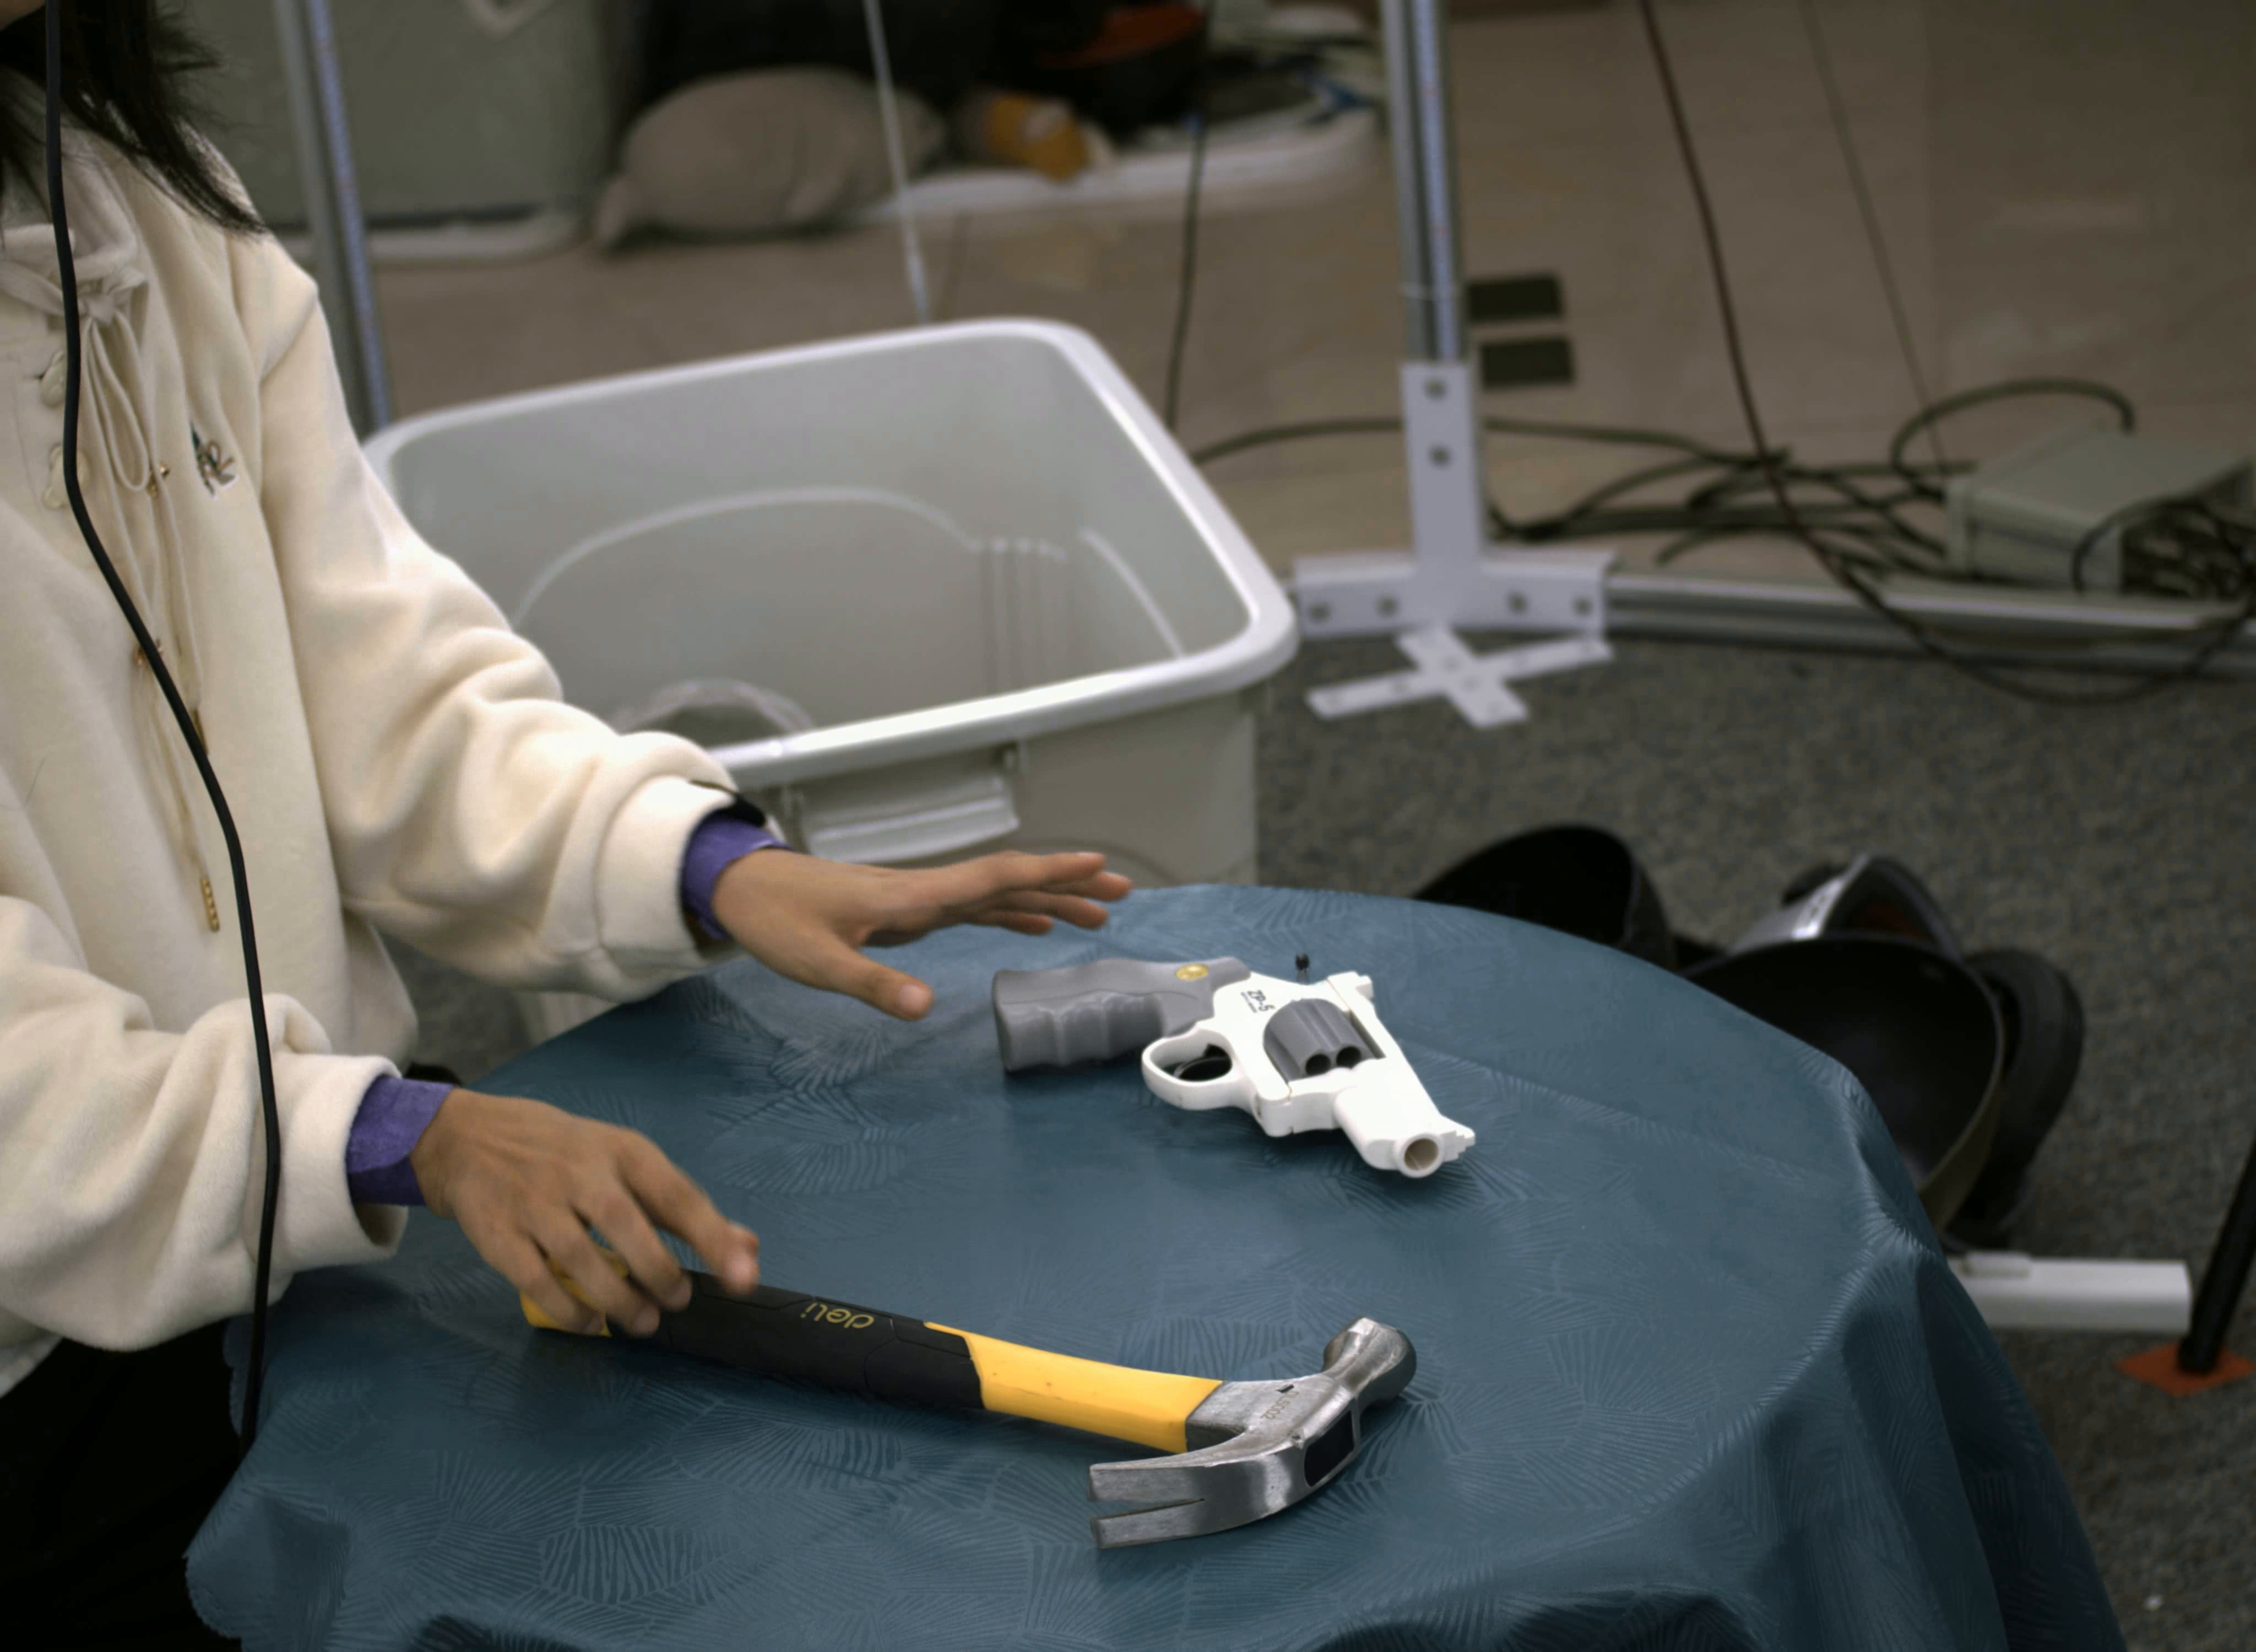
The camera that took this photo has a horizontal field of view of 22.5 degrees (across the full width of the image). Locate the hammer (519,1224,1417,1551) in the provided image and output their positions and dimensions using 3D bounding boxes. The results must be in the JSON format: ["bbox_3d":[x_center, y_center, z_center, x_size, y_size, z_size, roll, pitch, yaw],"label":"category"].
[{"bbox_3d":[-0.074,0.187,2.020,0.337,0.033,0.130,10,32,29],"label":"hammer"}]

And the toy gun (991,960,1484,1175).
[{"bbox_3d":[0.037,0.092,2.192,0.141,0.039,0.206,-12,25,-15],"label":"toy gun"}]
